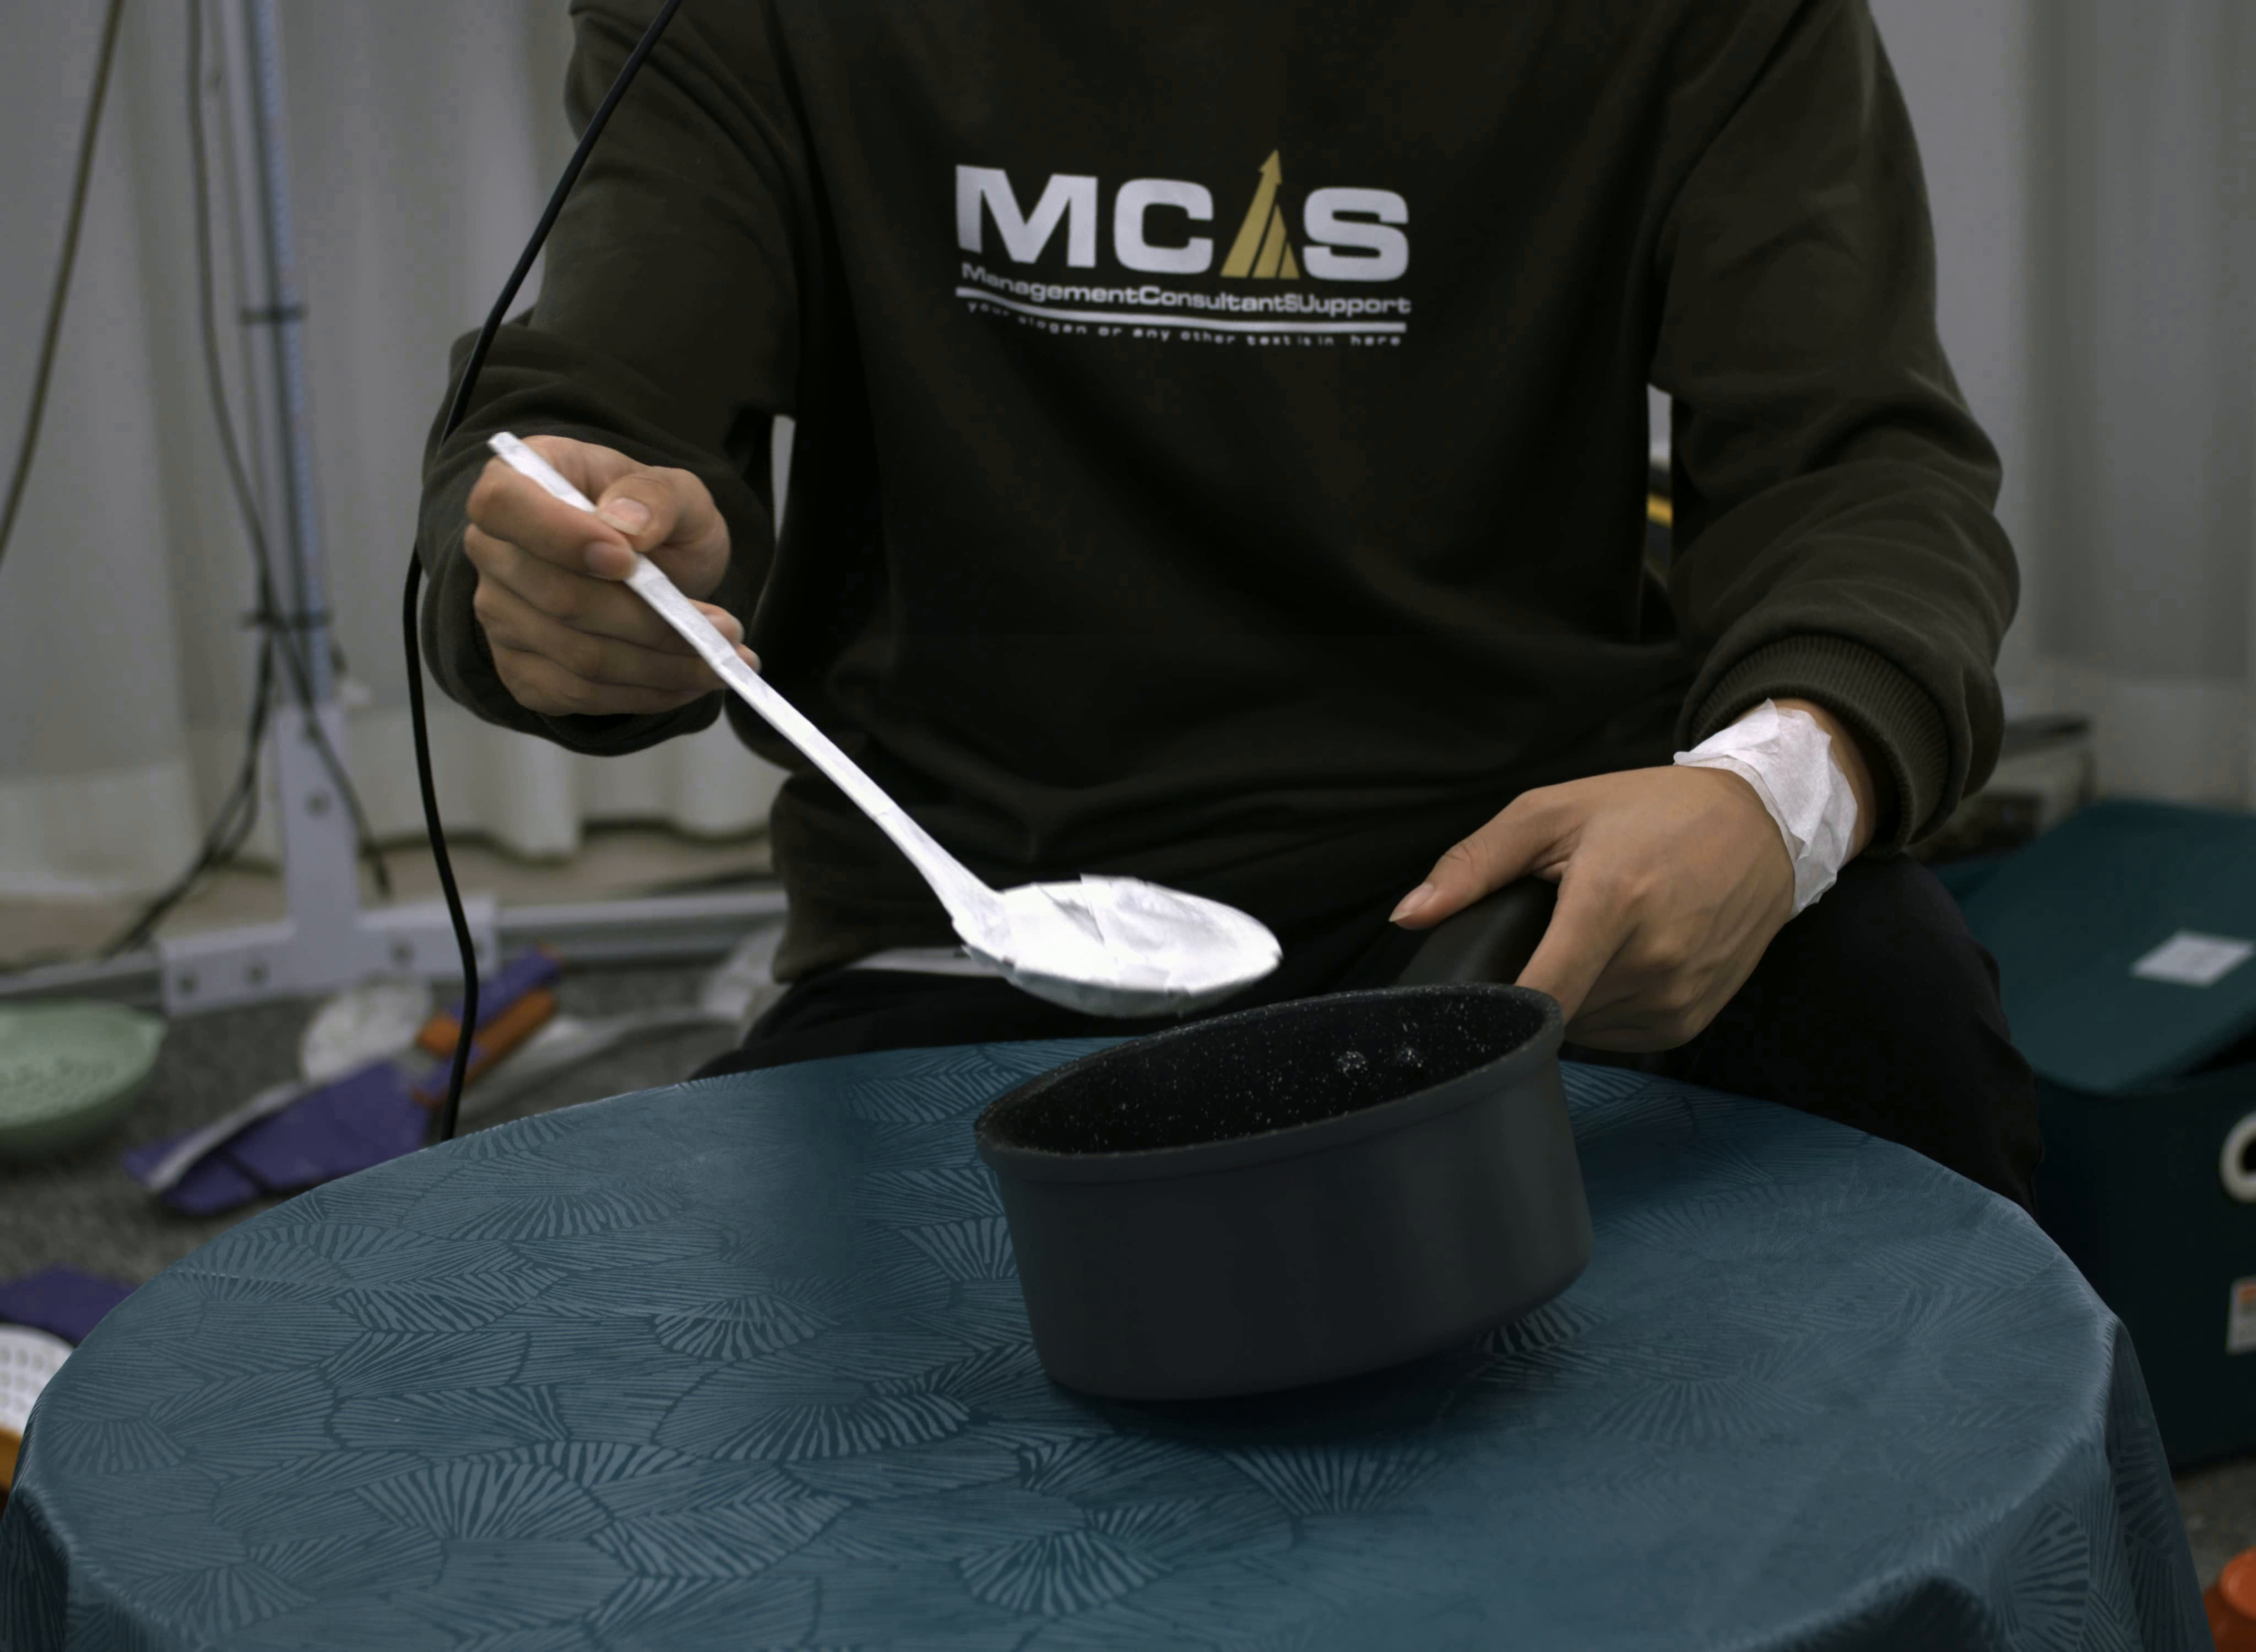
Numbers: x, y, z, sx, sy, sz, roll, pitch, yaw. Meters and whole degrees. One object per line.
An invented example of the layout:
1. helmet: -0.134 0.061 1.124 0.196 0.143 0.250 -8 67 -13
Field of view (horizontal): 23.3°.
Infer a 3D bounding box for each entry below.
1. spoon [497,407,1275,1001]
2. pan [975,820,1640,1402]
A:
1. spoon: -0.072 -0.043 1.583 0.279 0.059 0.101 46 25 11
2. pan: 0.082 0.081 1.623 0.172 0.086 0.329 -6 12 29
